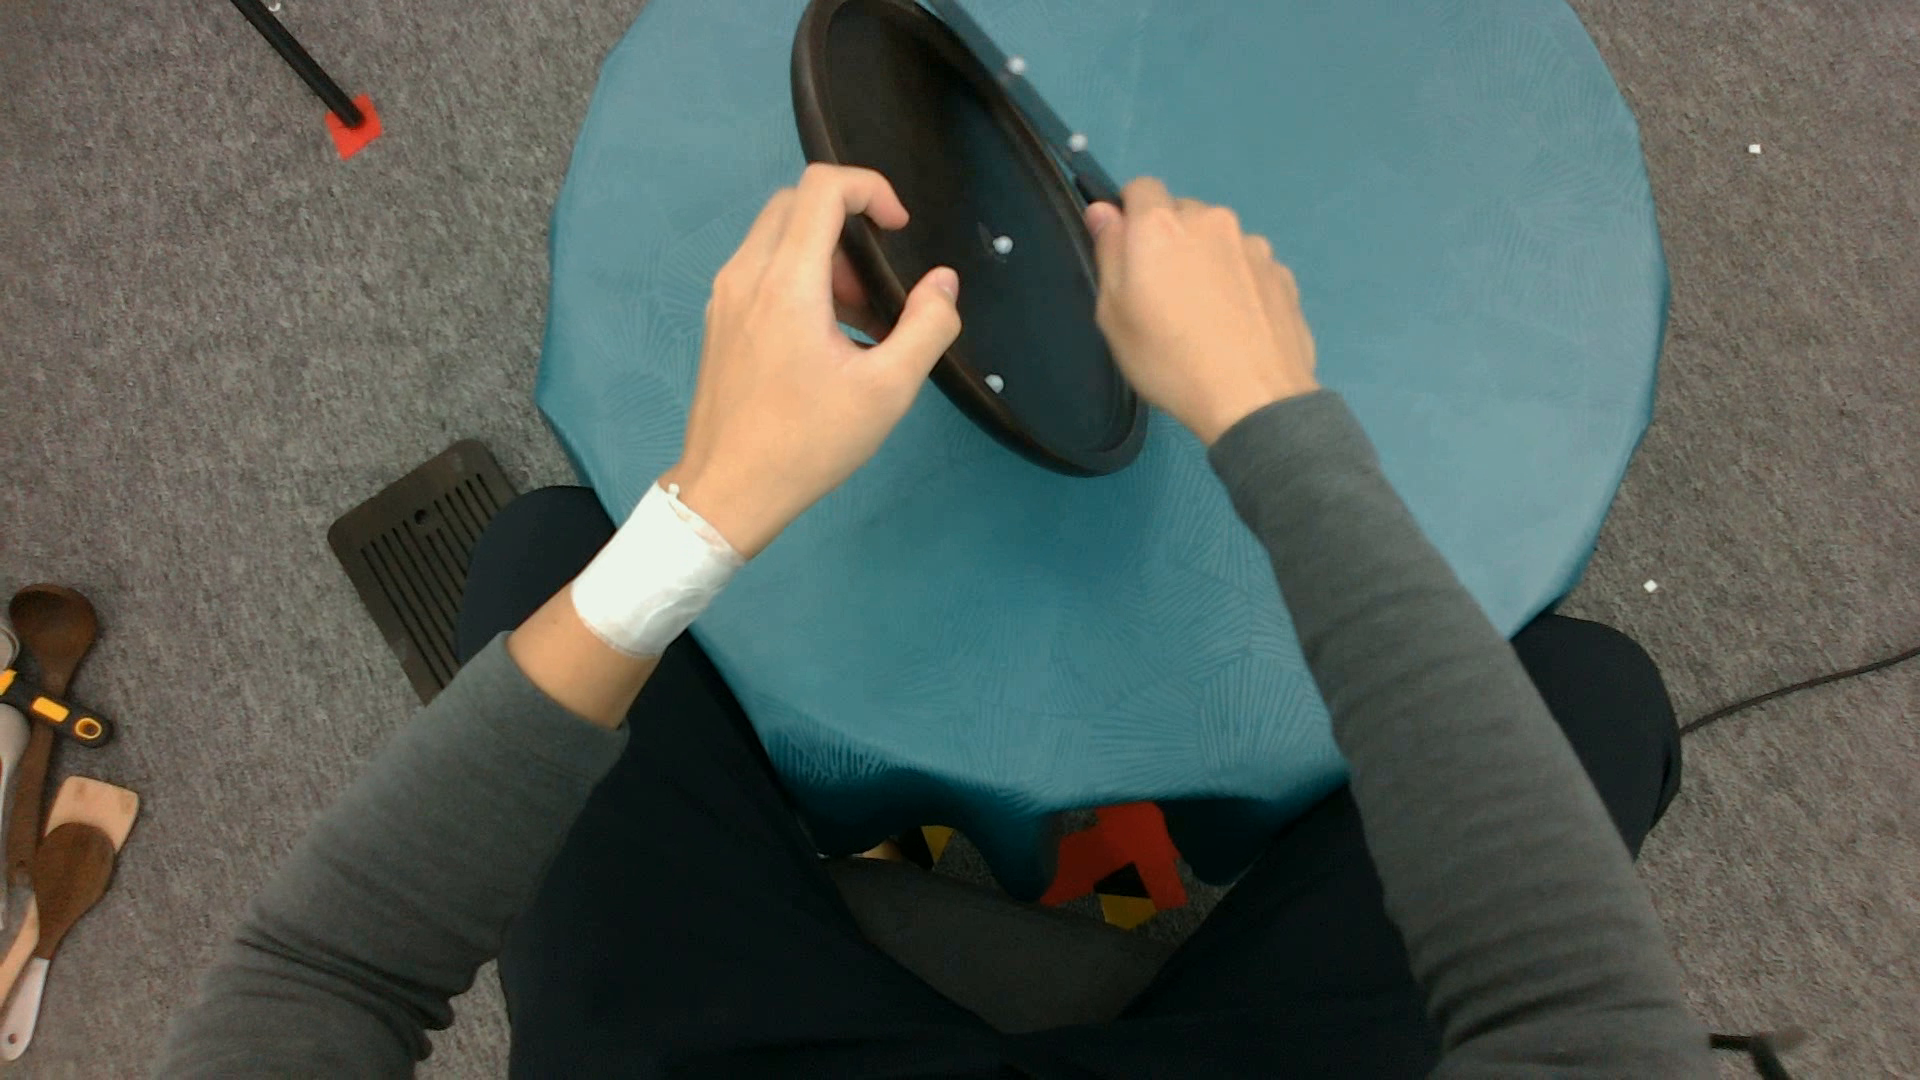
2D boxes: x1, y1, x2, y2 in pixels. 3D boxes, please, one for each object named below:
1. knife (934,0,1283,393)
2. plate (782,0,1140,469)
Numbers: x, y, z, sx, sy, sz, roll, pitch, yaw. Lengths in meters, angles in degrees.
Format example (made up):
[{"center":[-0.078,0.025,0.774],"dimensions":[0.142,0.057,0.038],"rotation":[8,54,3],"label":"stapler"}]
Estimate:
[{"center":[0.057,-0.183,0.657],"dimensions":[0.021,0.081,0.303],"rotation":[-44,63,22],"label":"knife"},{"center":[0.007,-0.146,0.640],"dimensions":[0.029,0.255,0.255],"rotation":[-28,75,26],"label":"plate"}]
